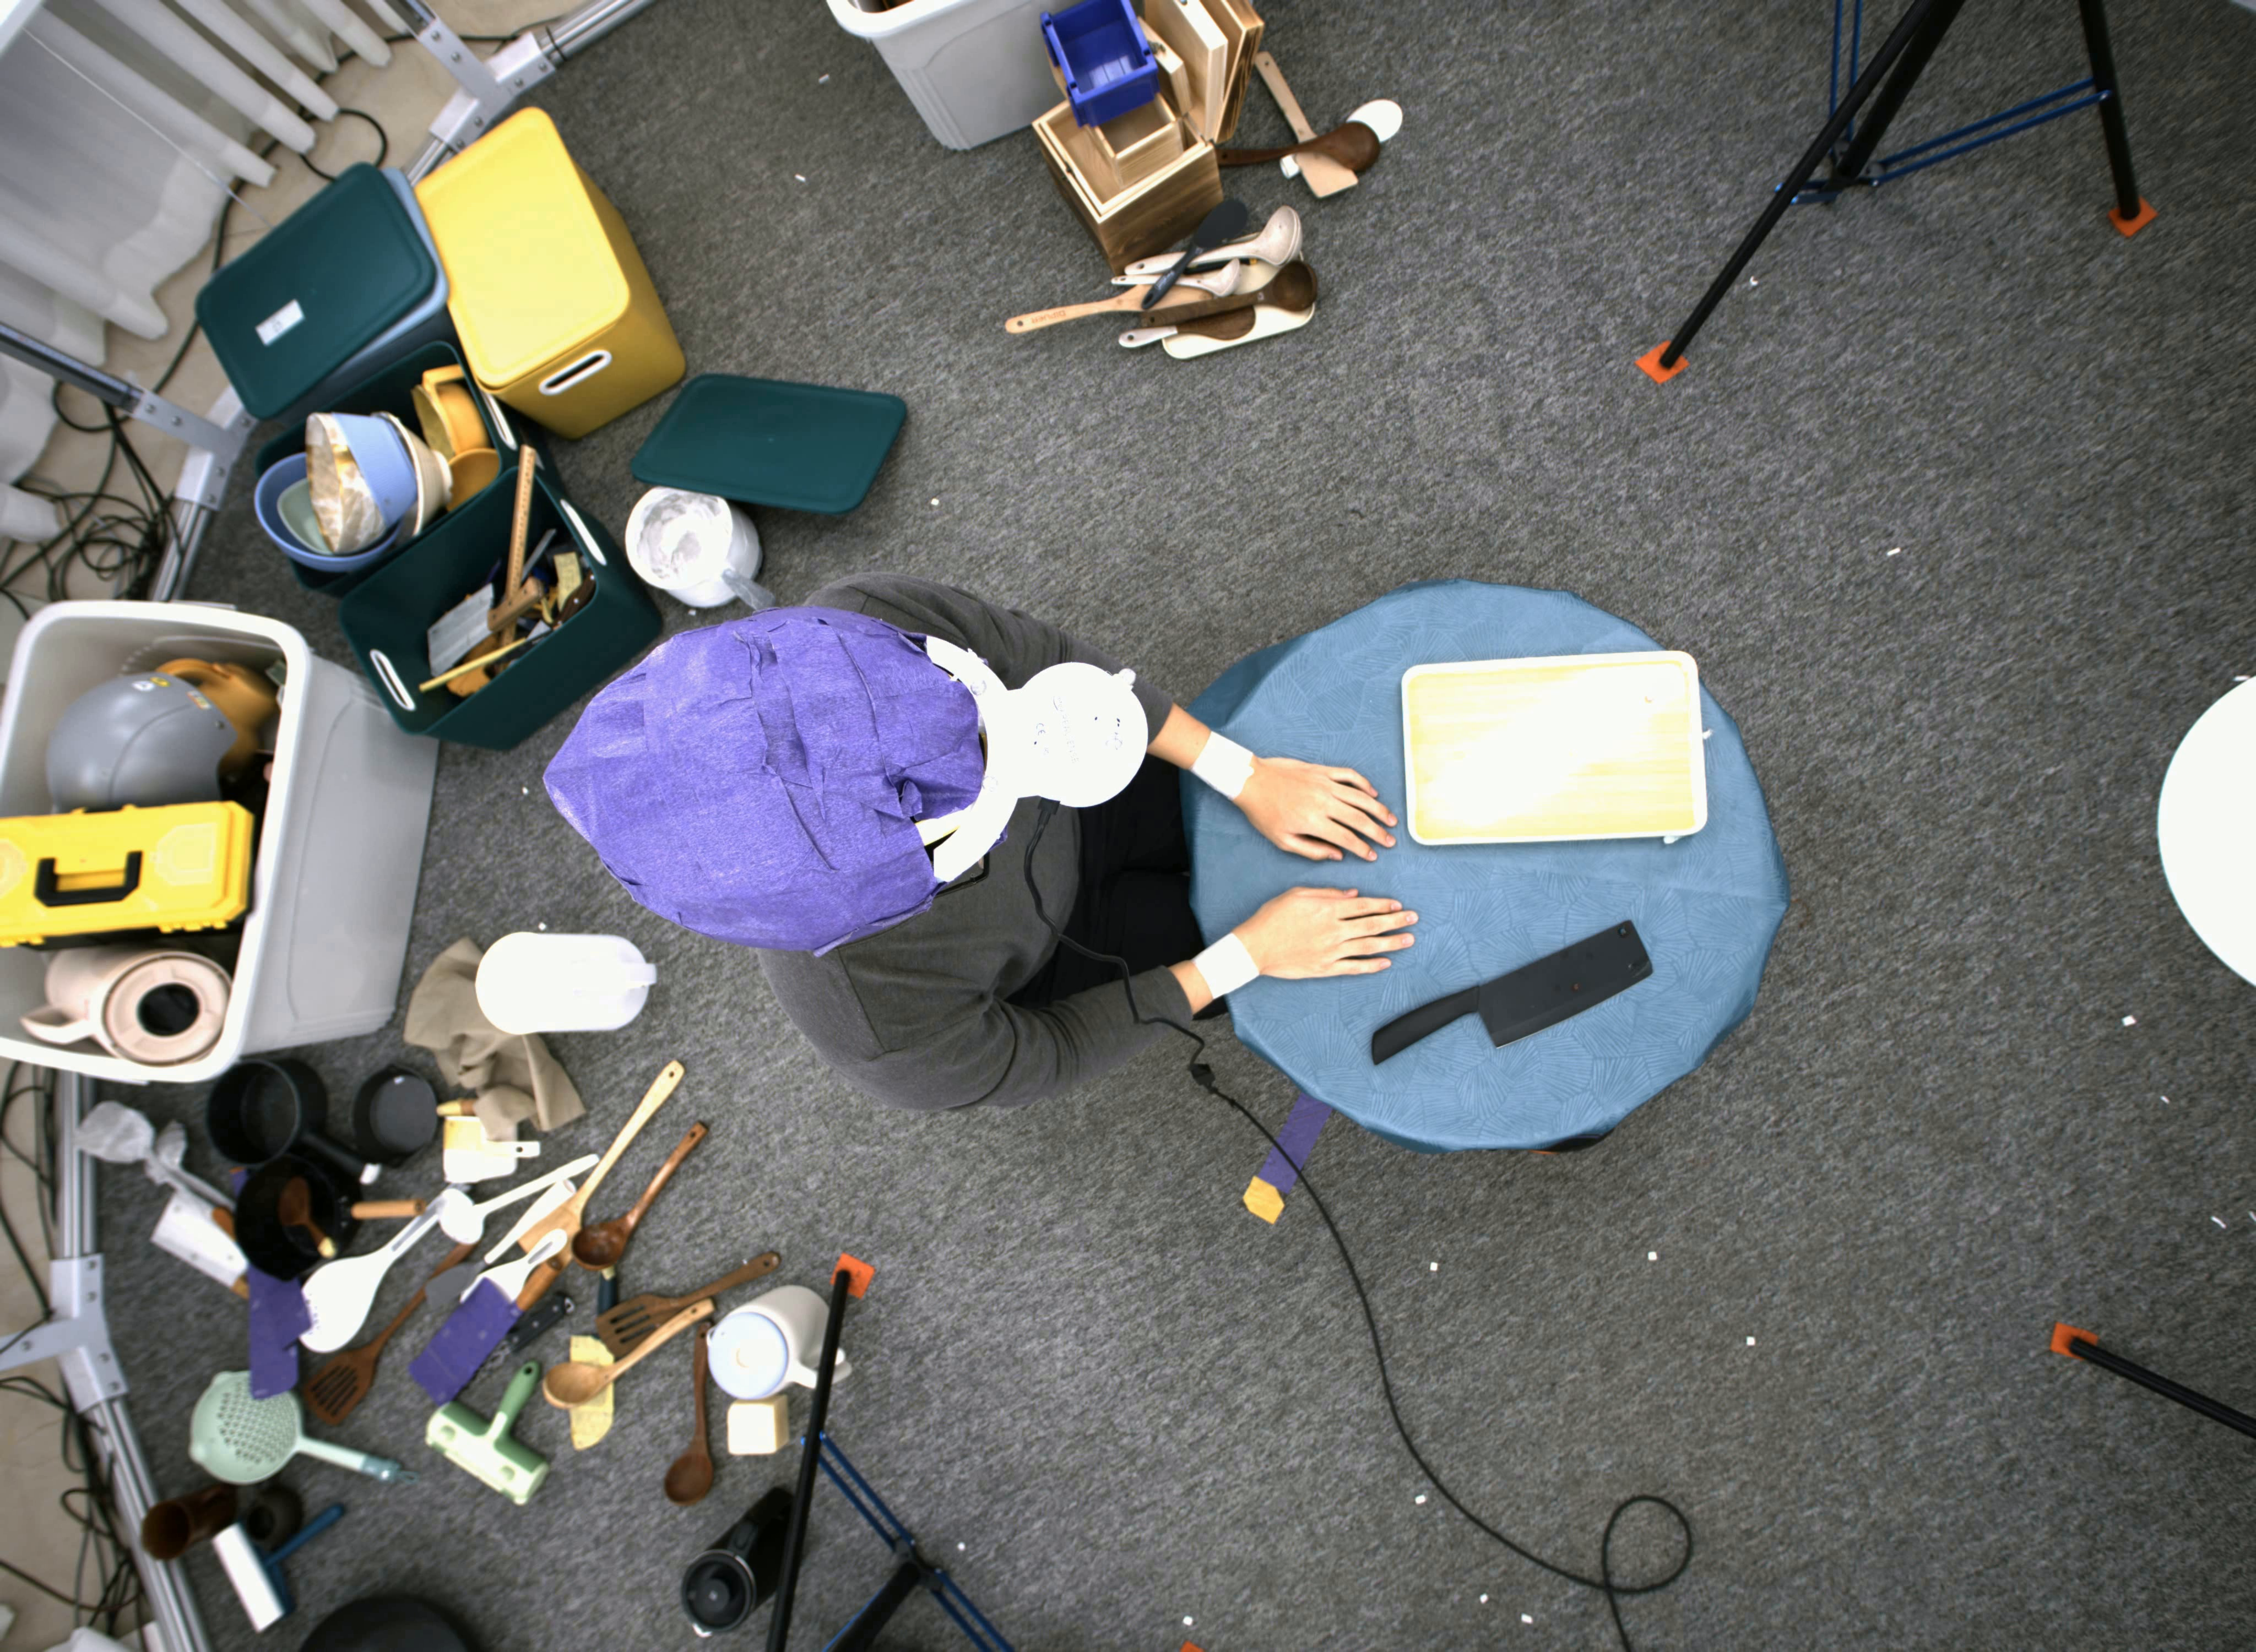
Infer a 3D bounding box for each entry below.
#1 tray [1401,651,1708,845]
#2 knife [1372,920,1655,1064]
[{"bbox_3d":[0.439,-0.083,1.423,0.301,0.027,0.190,-2,86,11],"label":"tray"},{"bbox_3d":[0.394,0.181,1.424,0.304,0.021,0.080,-21,84,7],"label":"knife"}]
